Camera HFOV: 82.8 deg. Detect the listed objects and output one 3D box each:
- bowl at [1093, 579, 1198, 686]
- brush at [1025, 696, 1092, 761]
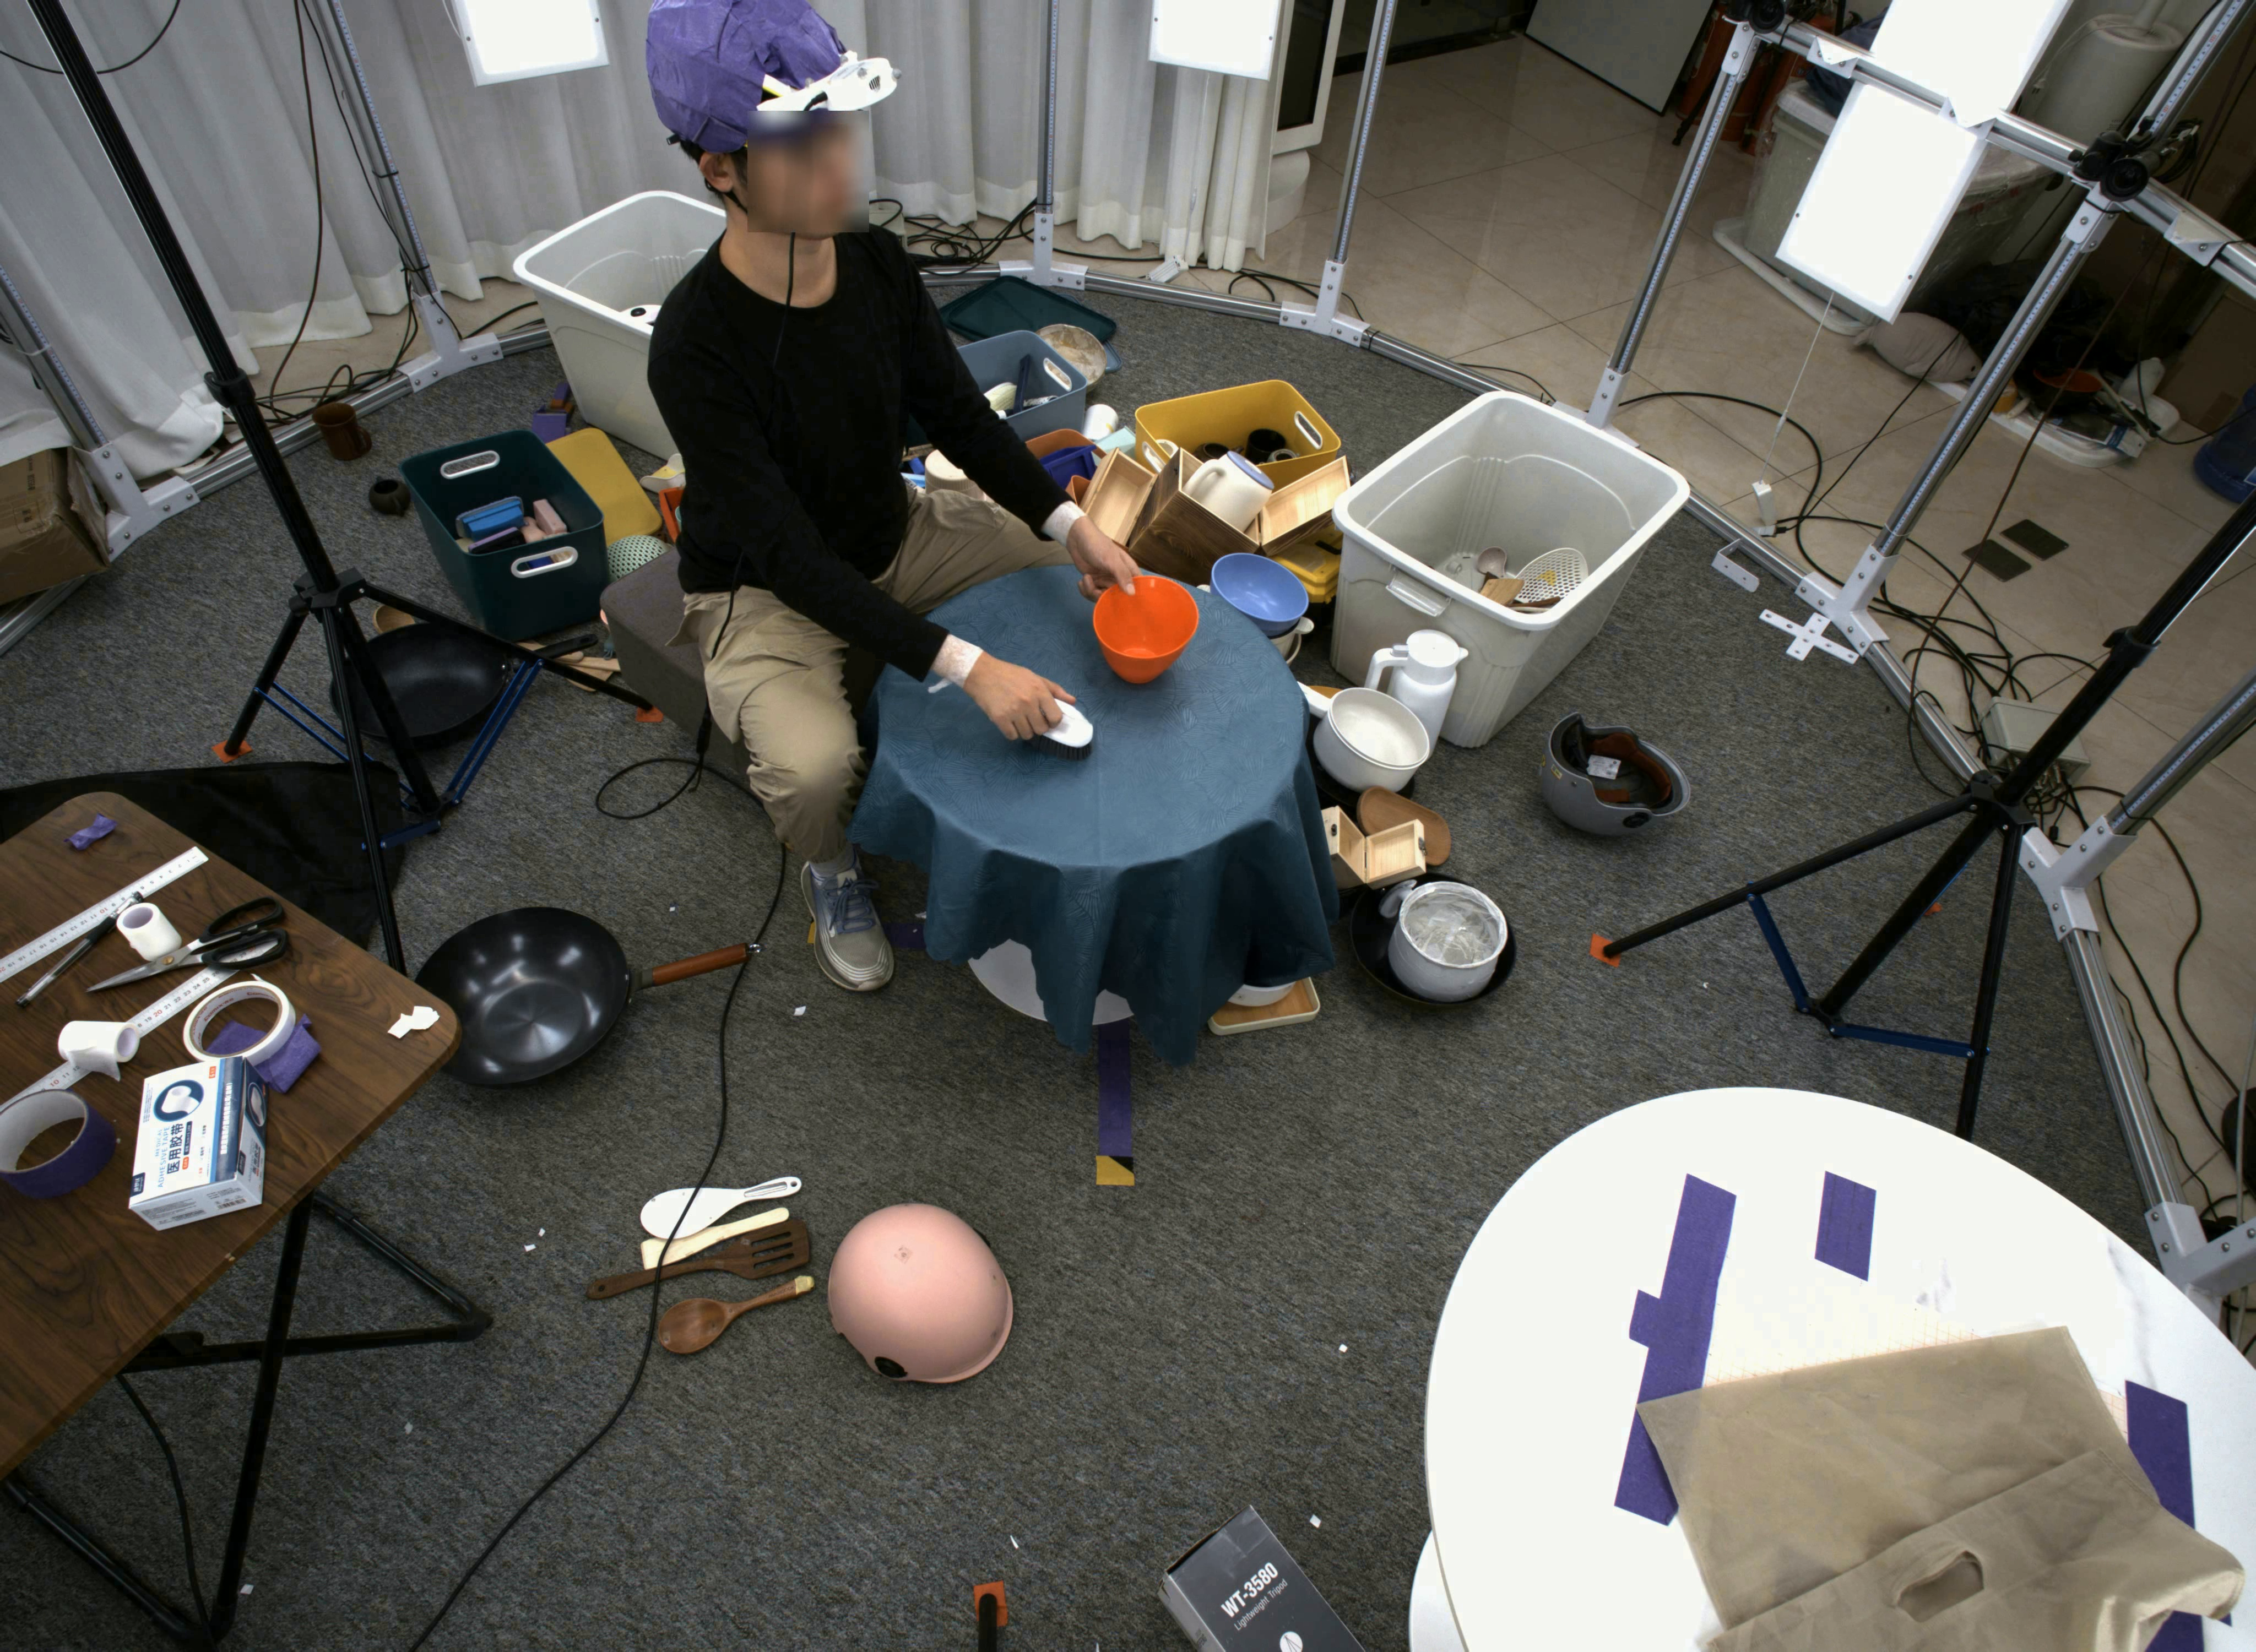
[{"bbox_3d":[0.023,-0.267,1.840,0.148,0.102,0.152,1,50,-1],"label":"bowl"},{"bbox_3d":[-0.095,-0.140,1.738,0.100,0.071,0.051,27,54,19],"label":"brush"}]
